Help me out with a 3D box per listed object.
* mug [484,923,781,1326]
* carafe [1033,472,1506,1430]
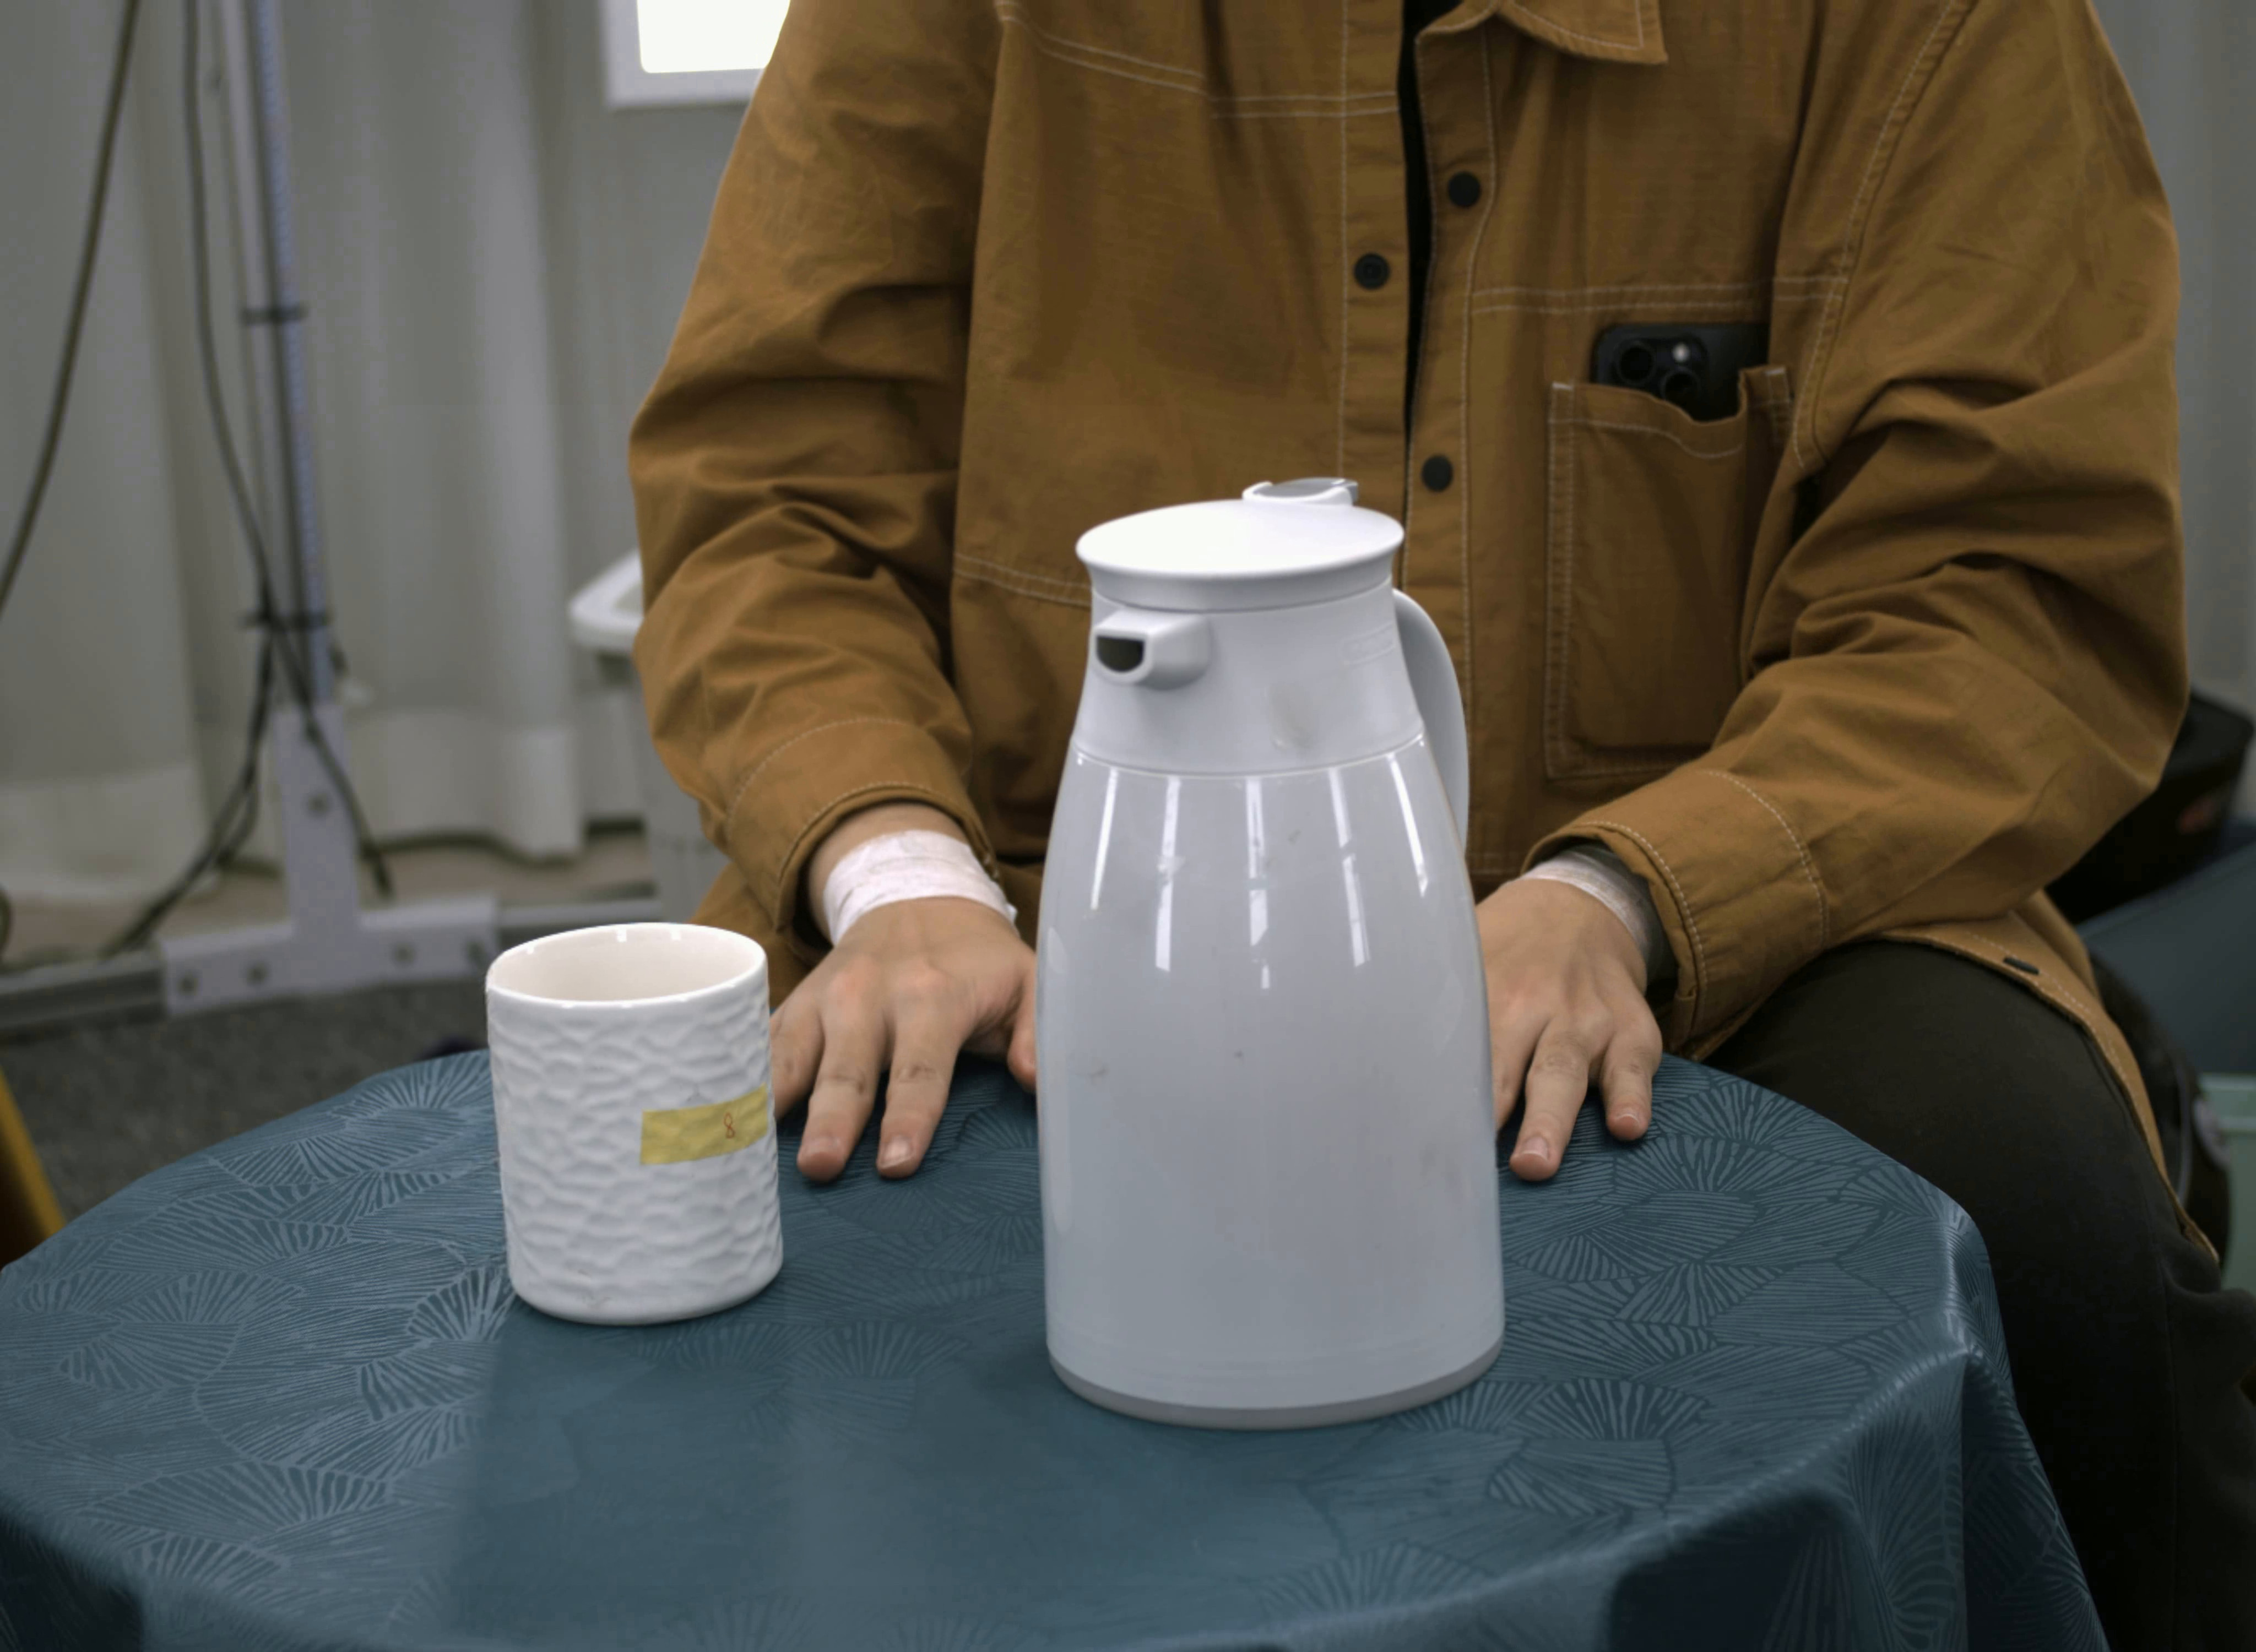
[{"bbox_3d":[-0.153,0.086,1.656,0.084,0.101,0.119,-7,14,-19],"label":"mug"},{"bbox_3d":[0.045,0.027,1.558,0.133,0.248,0.168,5,15,32],"label":"carafe"}]
